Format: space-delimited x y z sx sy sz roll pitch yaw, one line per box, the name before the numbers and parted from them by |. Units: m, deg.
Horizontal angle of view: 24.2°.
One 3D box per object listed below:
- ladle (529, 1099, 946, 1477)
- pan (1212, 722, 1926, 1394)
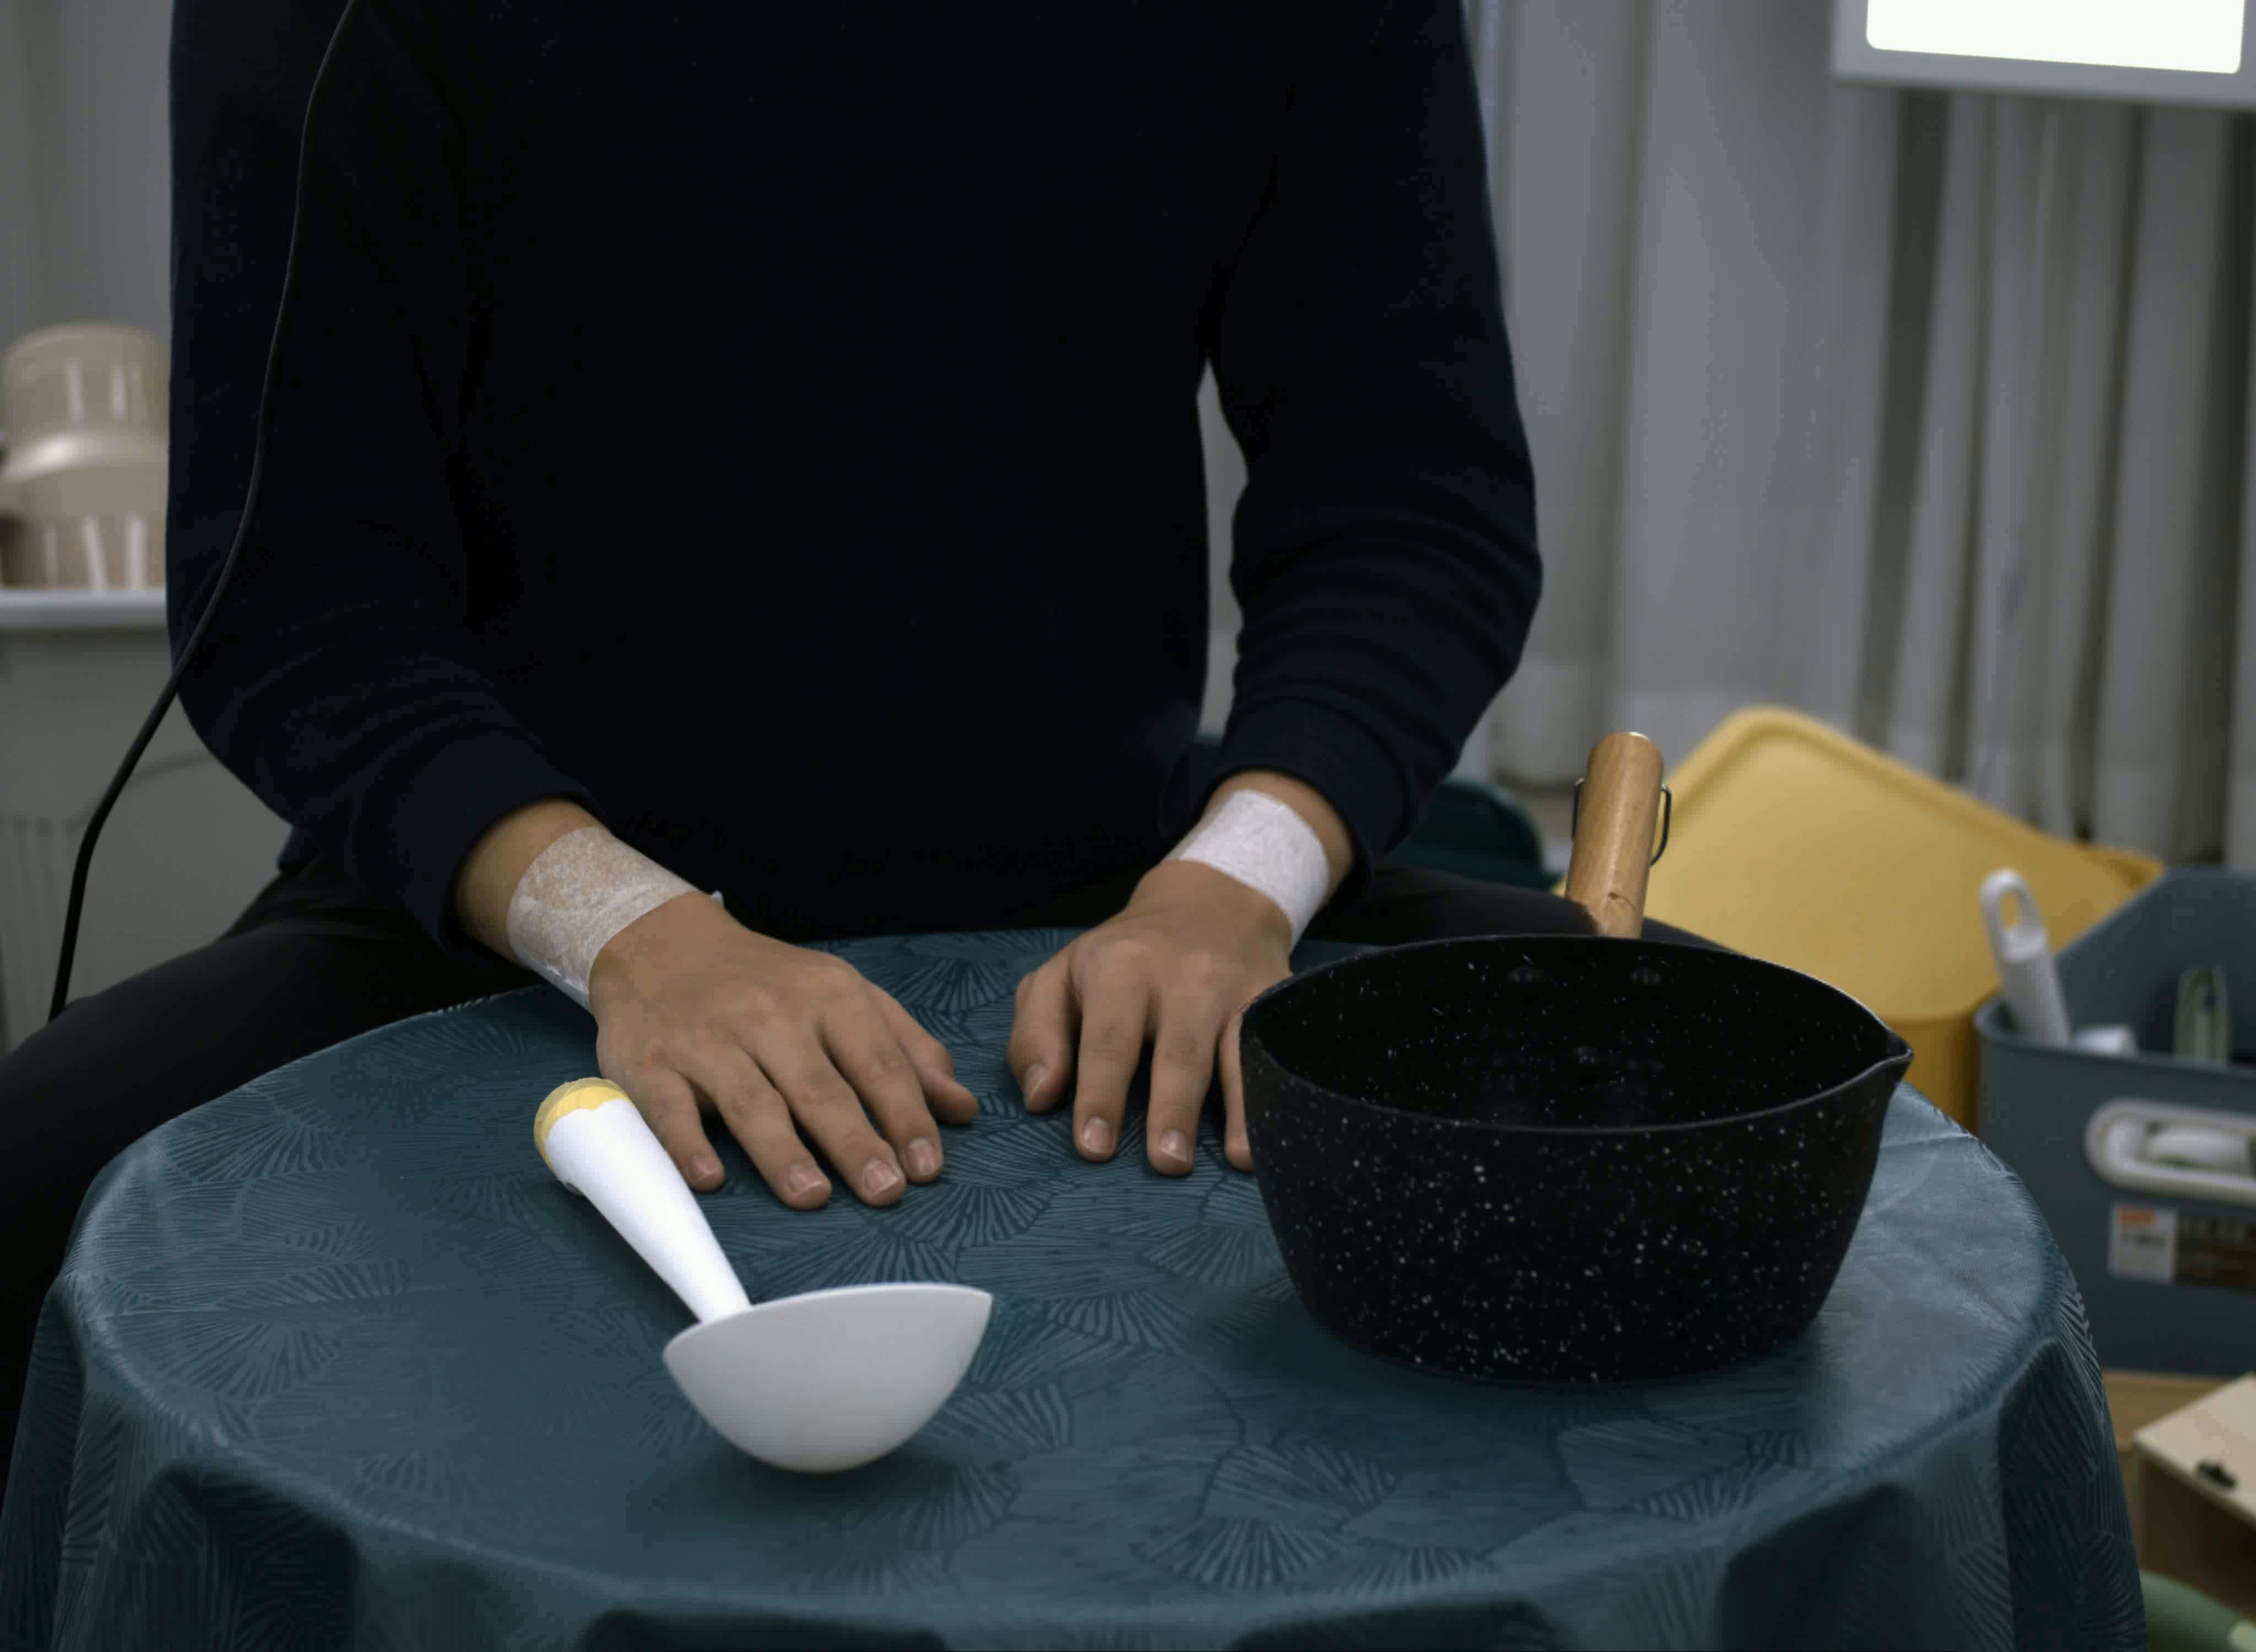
ladle | -0.126 0.115 1.490 0.090 0.070 0.290 -12 17 -16
pan | 0.136 0.065 1.595 0.206 0.109 0.341 1 17 8
